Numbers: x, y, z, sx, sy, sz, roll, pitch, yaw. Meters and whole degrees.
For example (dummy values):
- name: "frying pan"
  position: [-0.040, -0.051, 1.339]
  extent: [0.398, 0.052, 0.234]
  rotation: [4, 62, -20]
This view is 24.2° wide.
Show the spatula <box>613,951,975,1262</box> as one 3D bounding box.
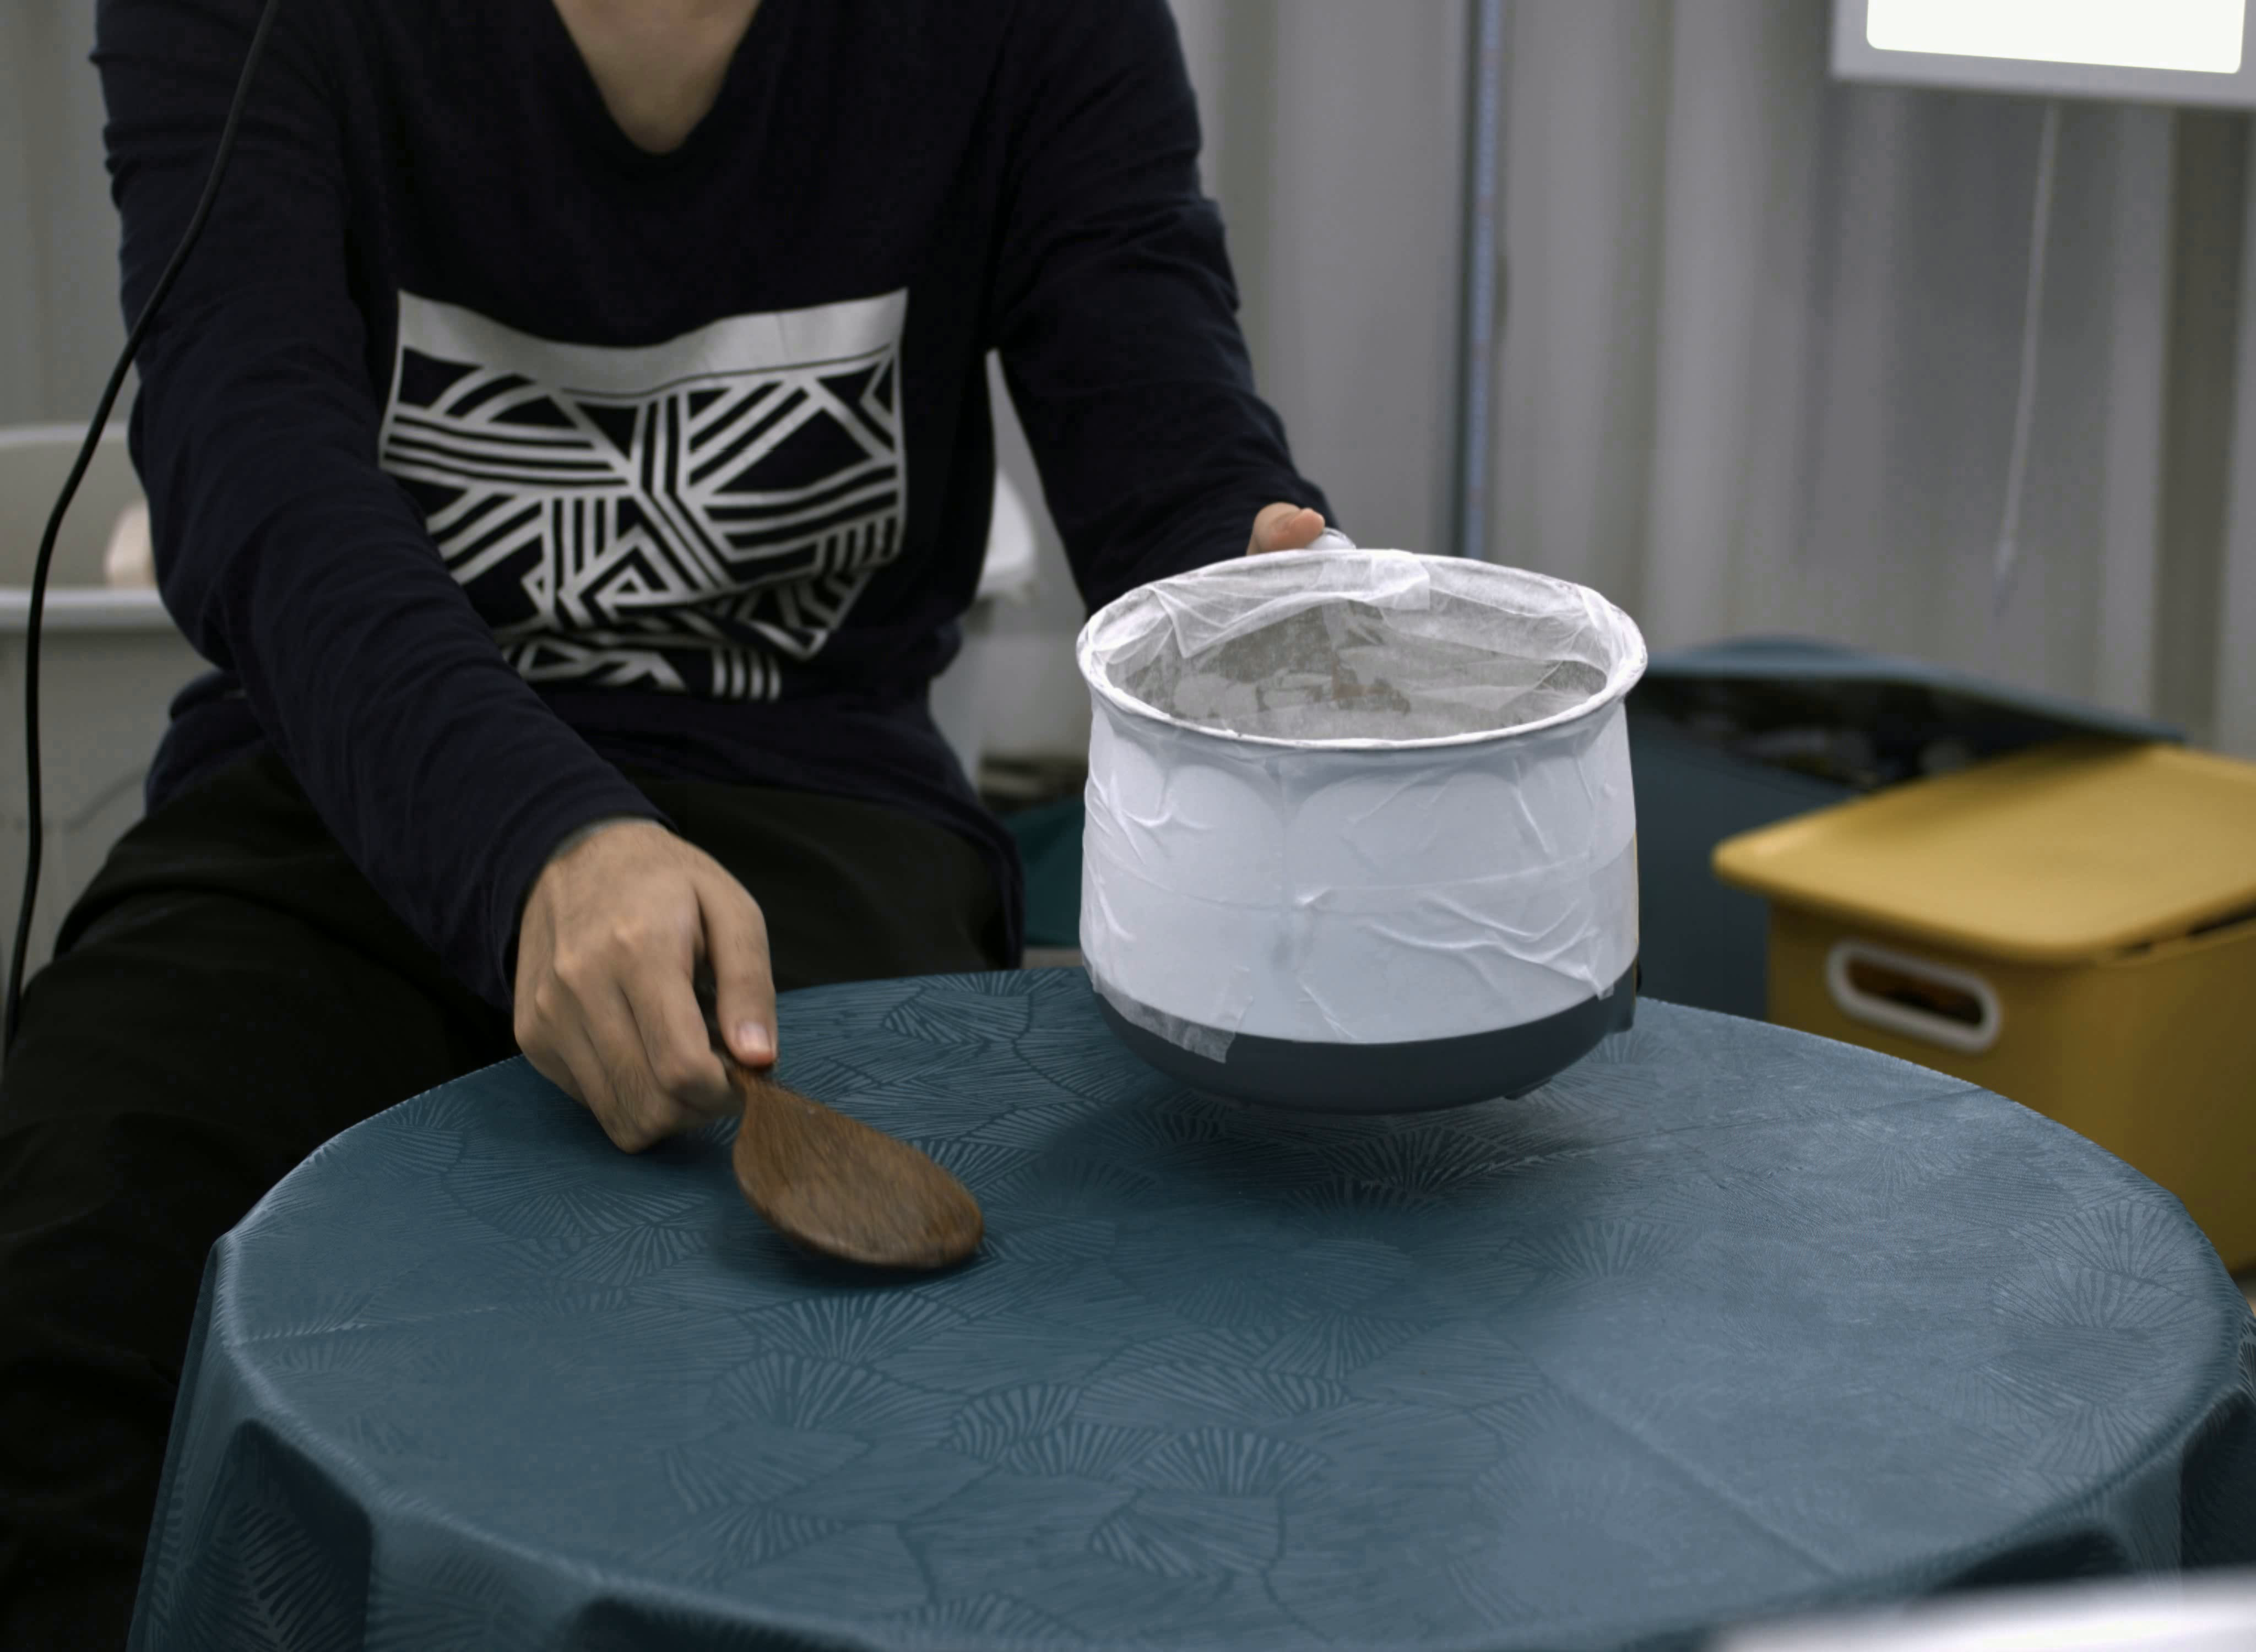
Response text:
- name: "spatula"
  position: [-0.111, 0.083, 1.623]
  extent: [0.072, 0.009, 0.213]
  rotation: [2, 22, -29]

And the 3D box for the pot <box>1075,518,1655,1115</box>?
- name: "pot"
  position: [0.069, -0.009, 1.673]
  extent: [0.178, 0.138, 0.231]
  rotation: [0, 23, -7]
